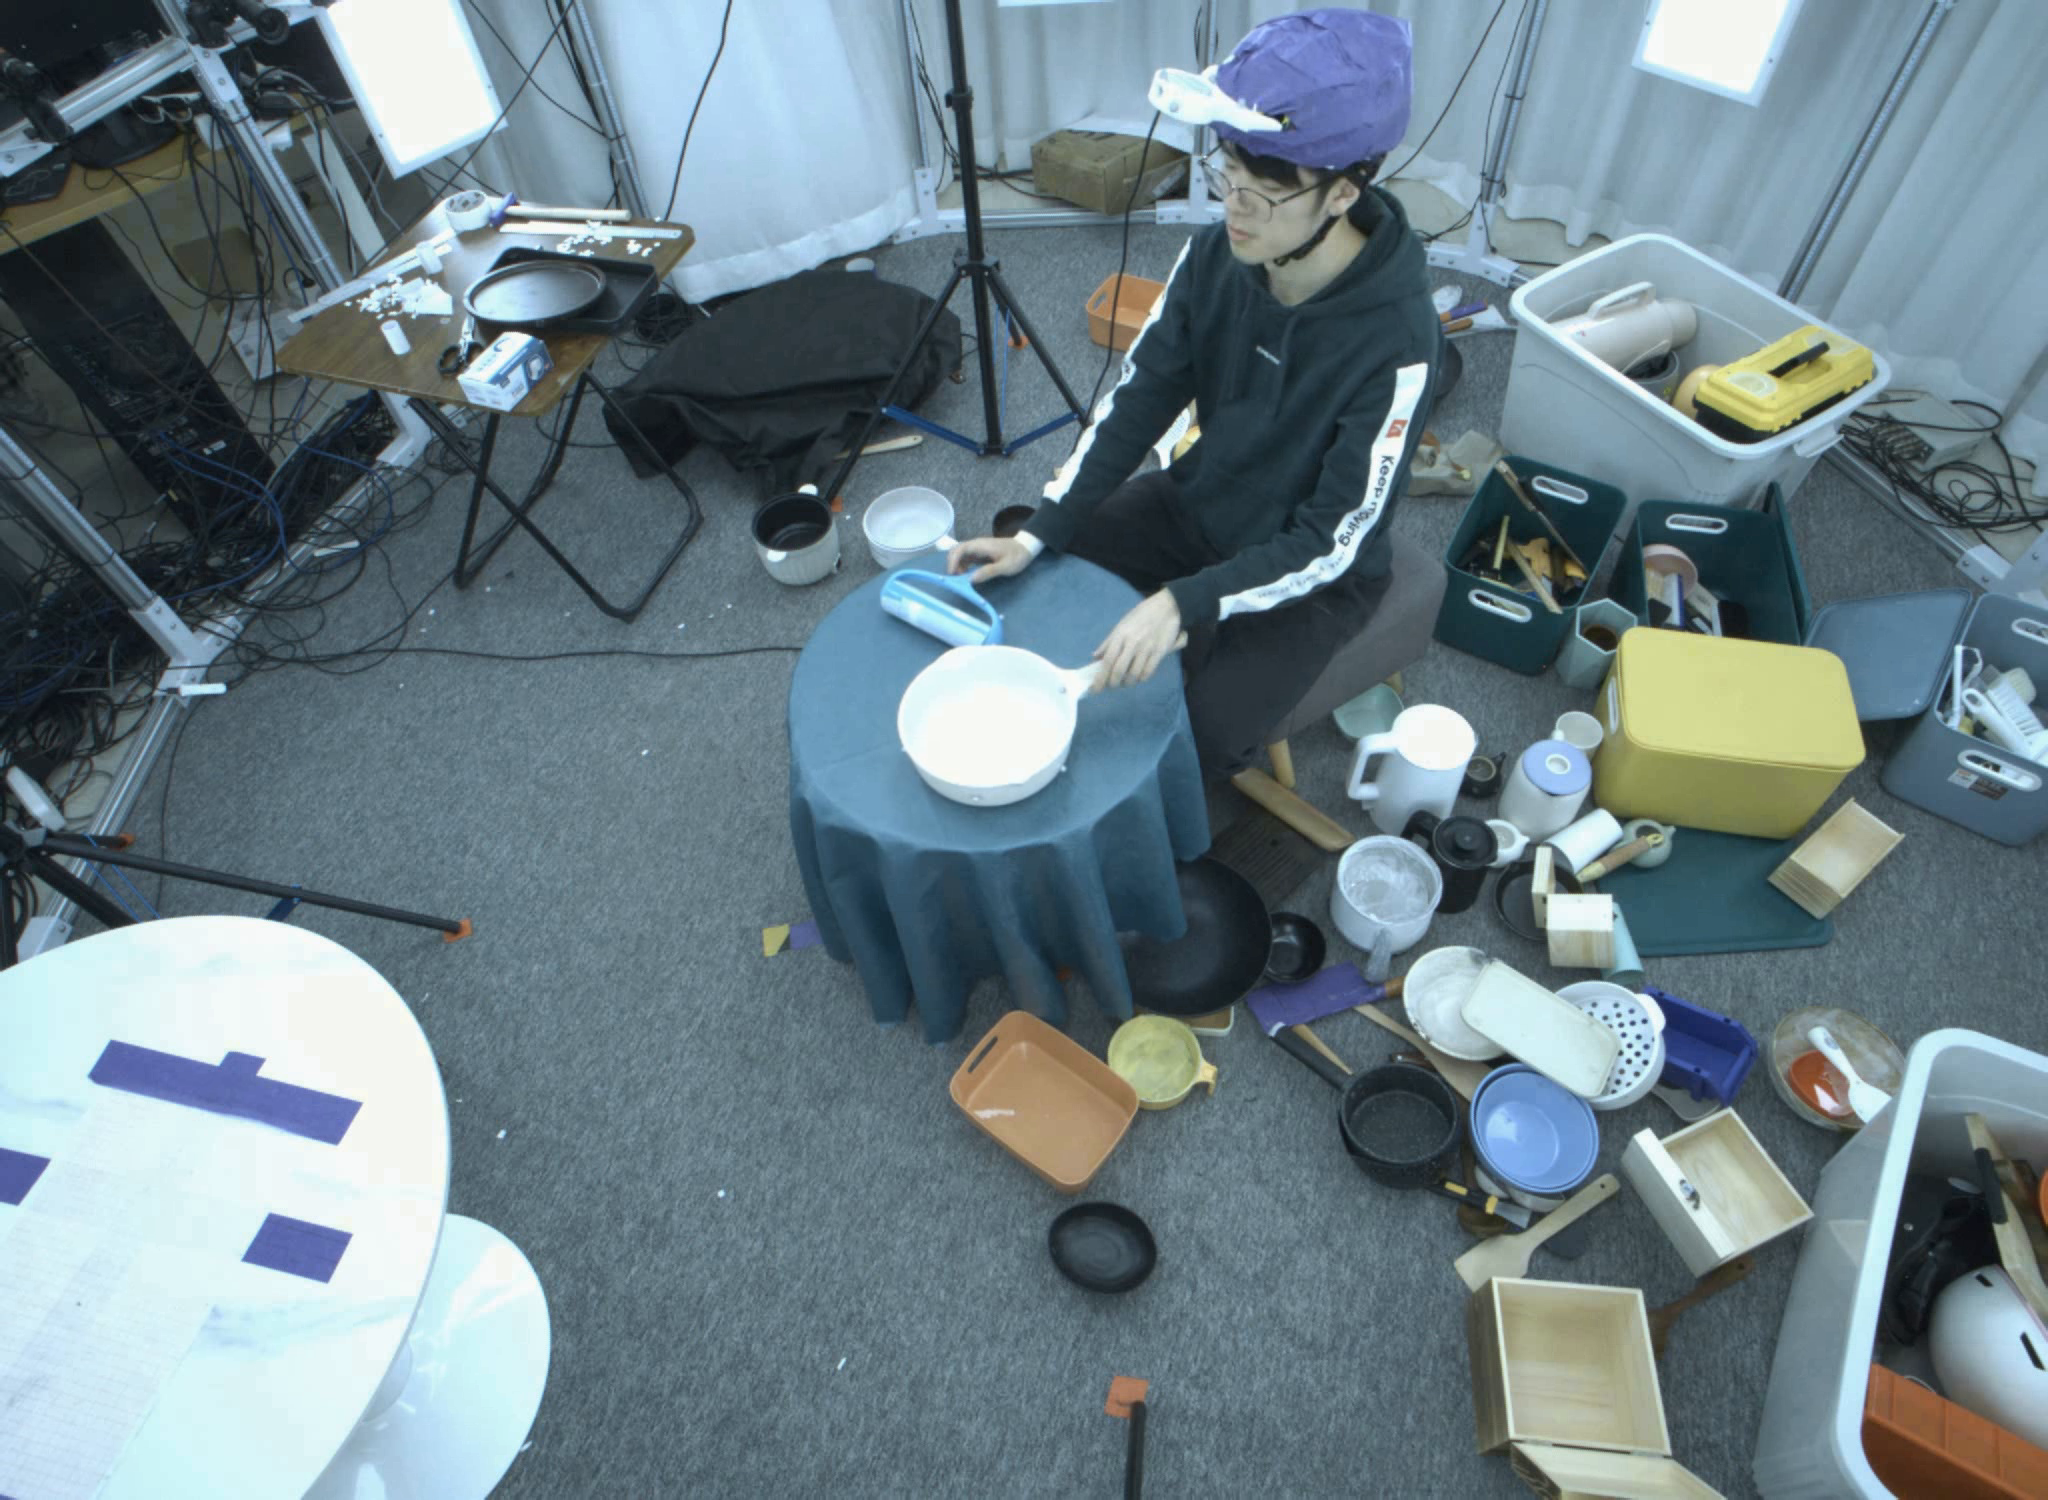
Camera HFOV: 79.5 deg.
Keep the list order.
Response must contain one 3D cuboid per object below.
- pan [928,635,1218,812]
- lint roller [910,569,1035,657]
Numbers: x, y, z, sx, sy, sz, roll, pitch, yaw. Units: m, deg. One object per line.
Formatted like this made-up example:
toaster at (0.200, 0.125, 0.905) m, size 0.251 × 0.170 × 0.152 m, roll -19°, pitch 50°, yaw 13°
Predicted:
pan at (0.079, -0.055, 1.757) m, size 0.438 × 0.103 × 0.258 m, roll -20°, pitch 55°, yaw -11°
lint roller at (-0.050, -0.240, 1.920) m, size 0.225 × 0.069 × 0.181 m, roll 27°, pitch 61°, yaw 21°
